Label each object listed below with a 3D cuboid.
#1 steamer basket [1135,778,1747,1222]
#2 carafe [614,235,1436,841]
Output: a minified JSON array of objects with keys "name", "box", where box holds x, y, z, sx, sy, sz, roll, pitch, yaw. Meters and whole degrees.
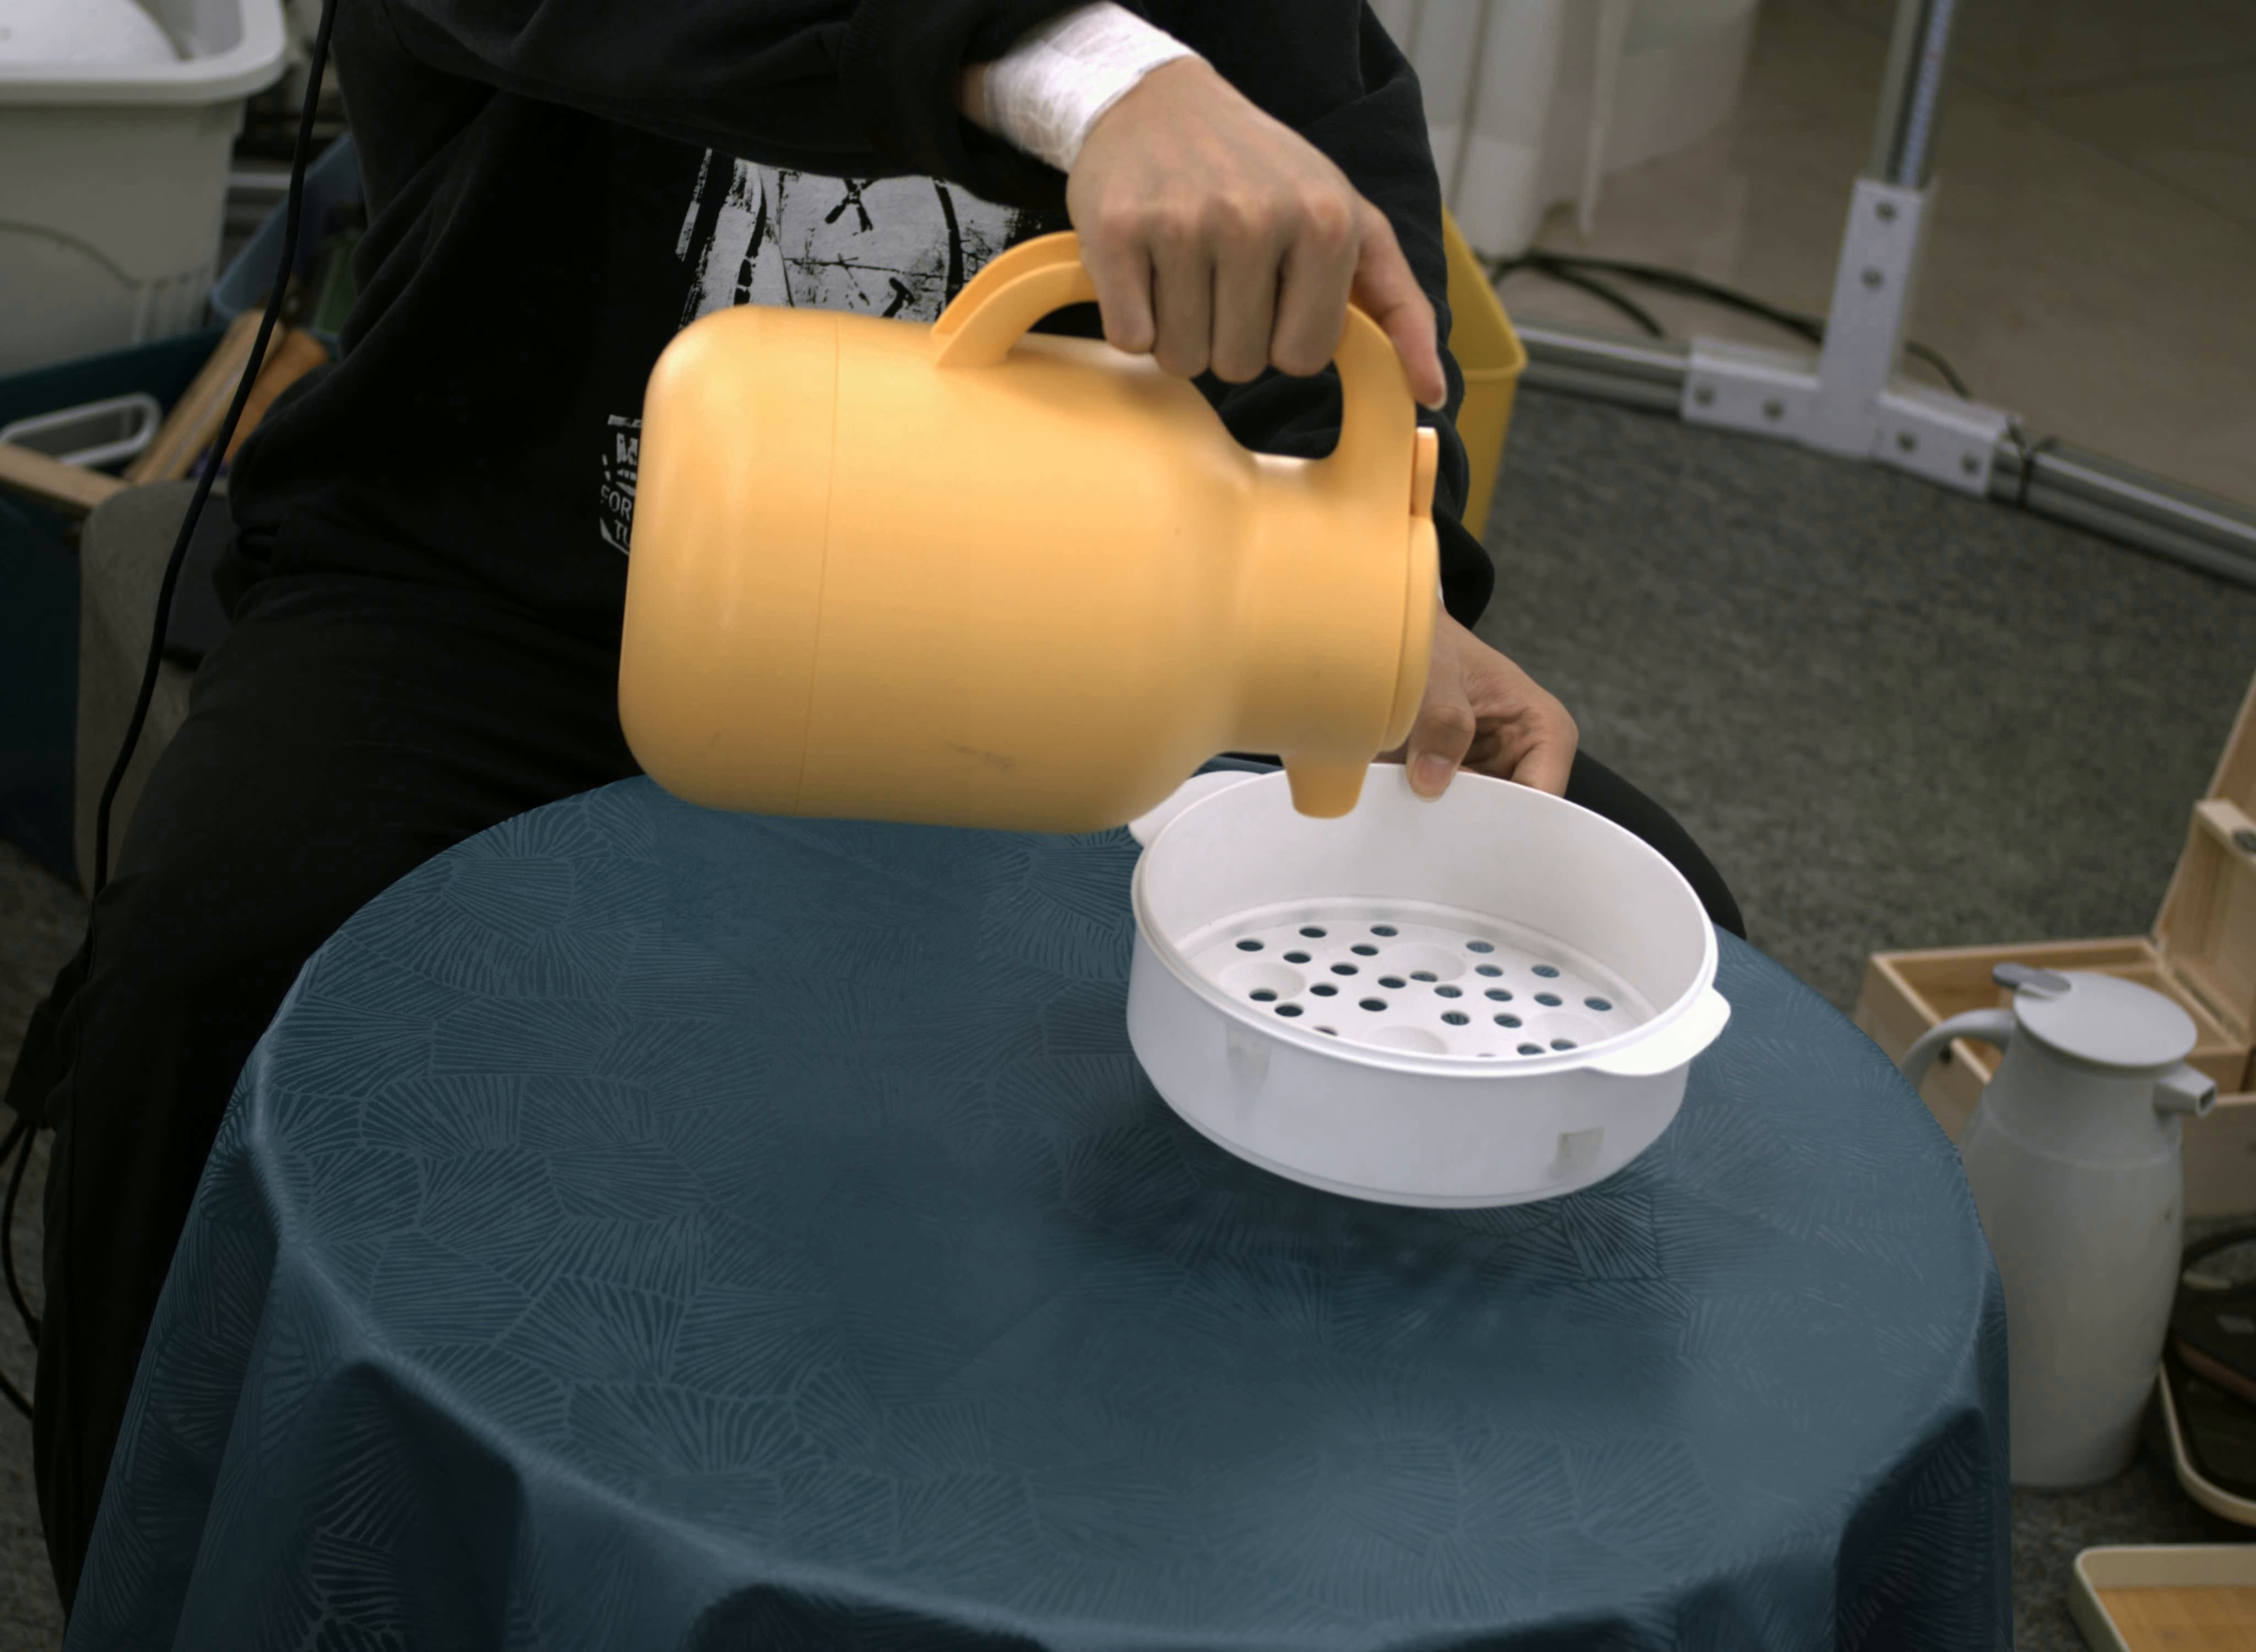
[{"name":"steamer basket","box":[0.101,0.060,1.813,0.232,0.069,0.201,26,35,32]},{"name":"carafe","box":[-0.030,-0.094,1.710,0.259,0.202,0.164,5,26,-7]}]
